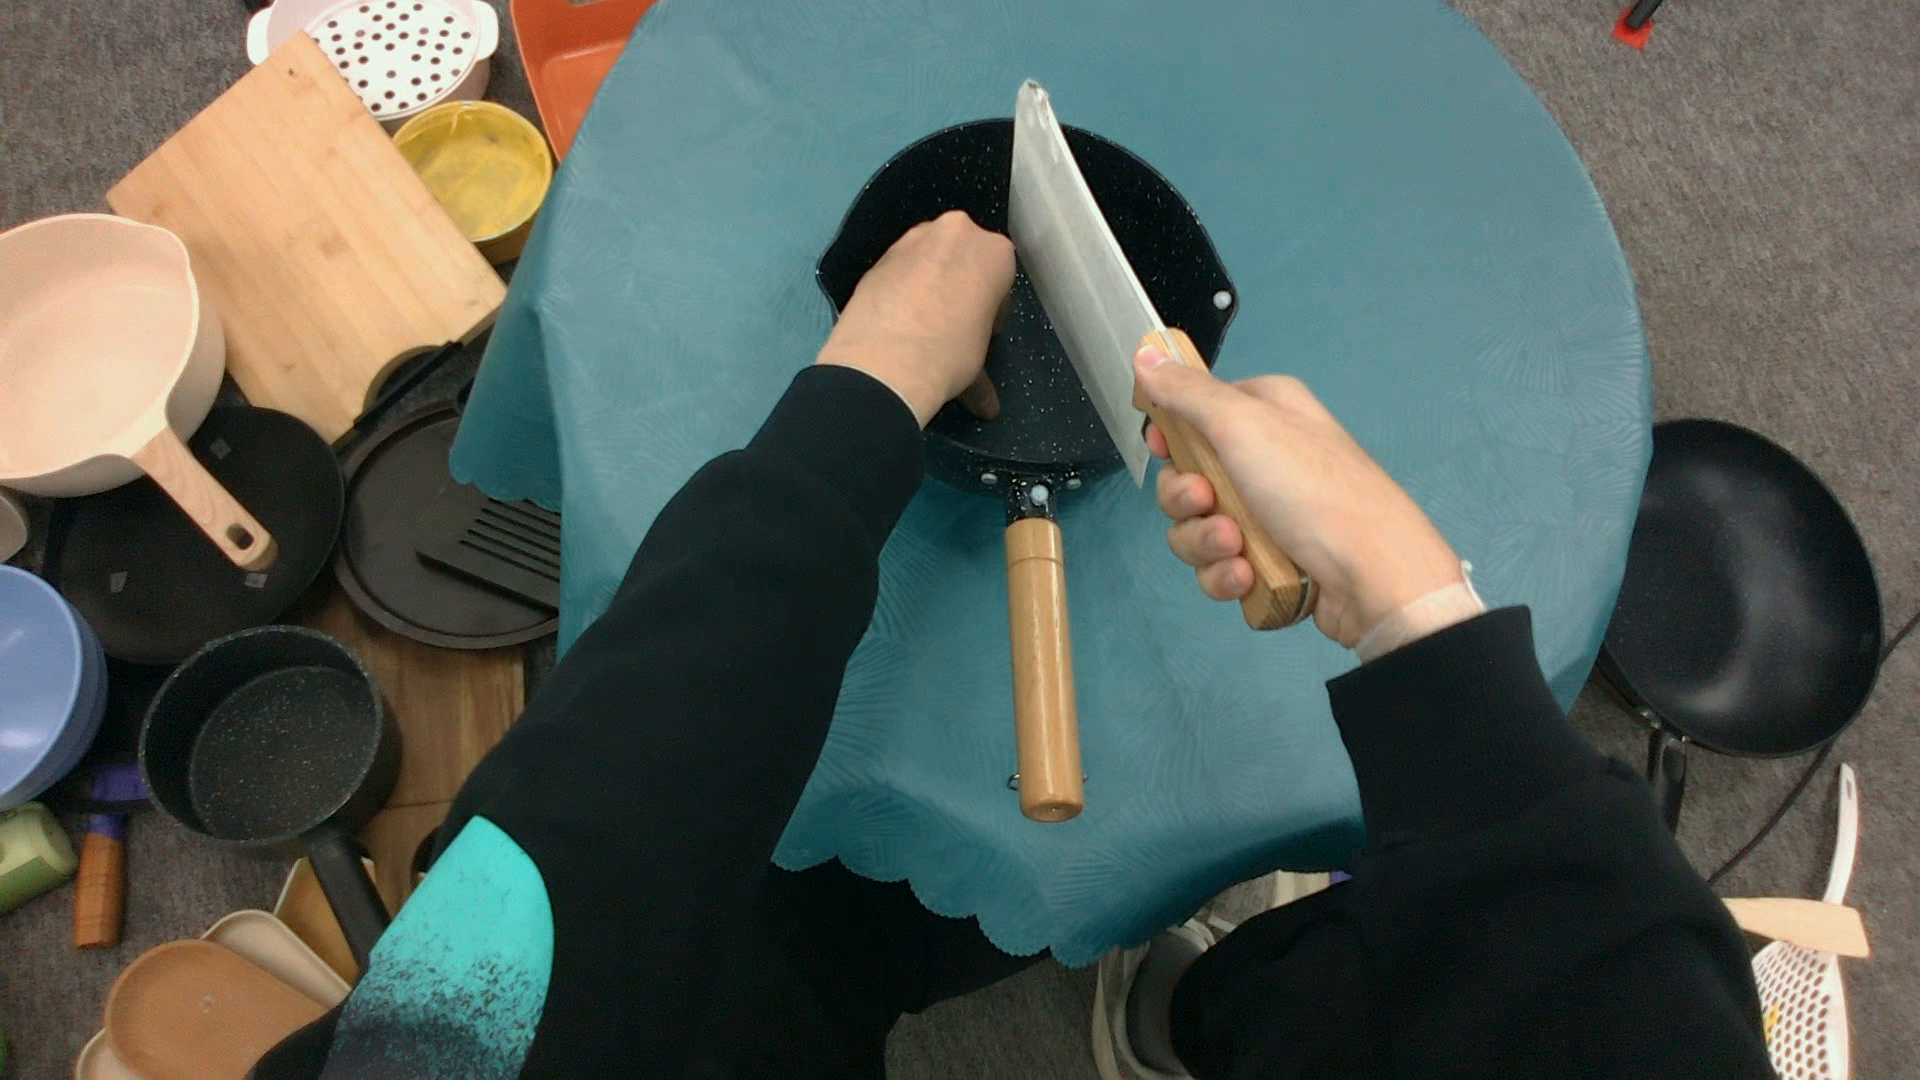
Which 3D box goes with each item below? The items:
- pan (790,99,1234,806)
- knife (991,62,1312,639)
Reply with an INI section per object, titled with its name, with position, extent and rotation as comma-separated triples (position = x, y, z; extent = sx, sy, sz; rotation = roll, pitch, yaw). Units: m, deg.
[pan]
position = 0.025, -0.042, 0.637
extent = 0.207, 0.108, 0.344
rotation = 0, 68, -9
[knife]
position = 0.063, -0.085, 0.567
extent = 0.022, 0.113, 0.316
rotation = -12, 48, -12
